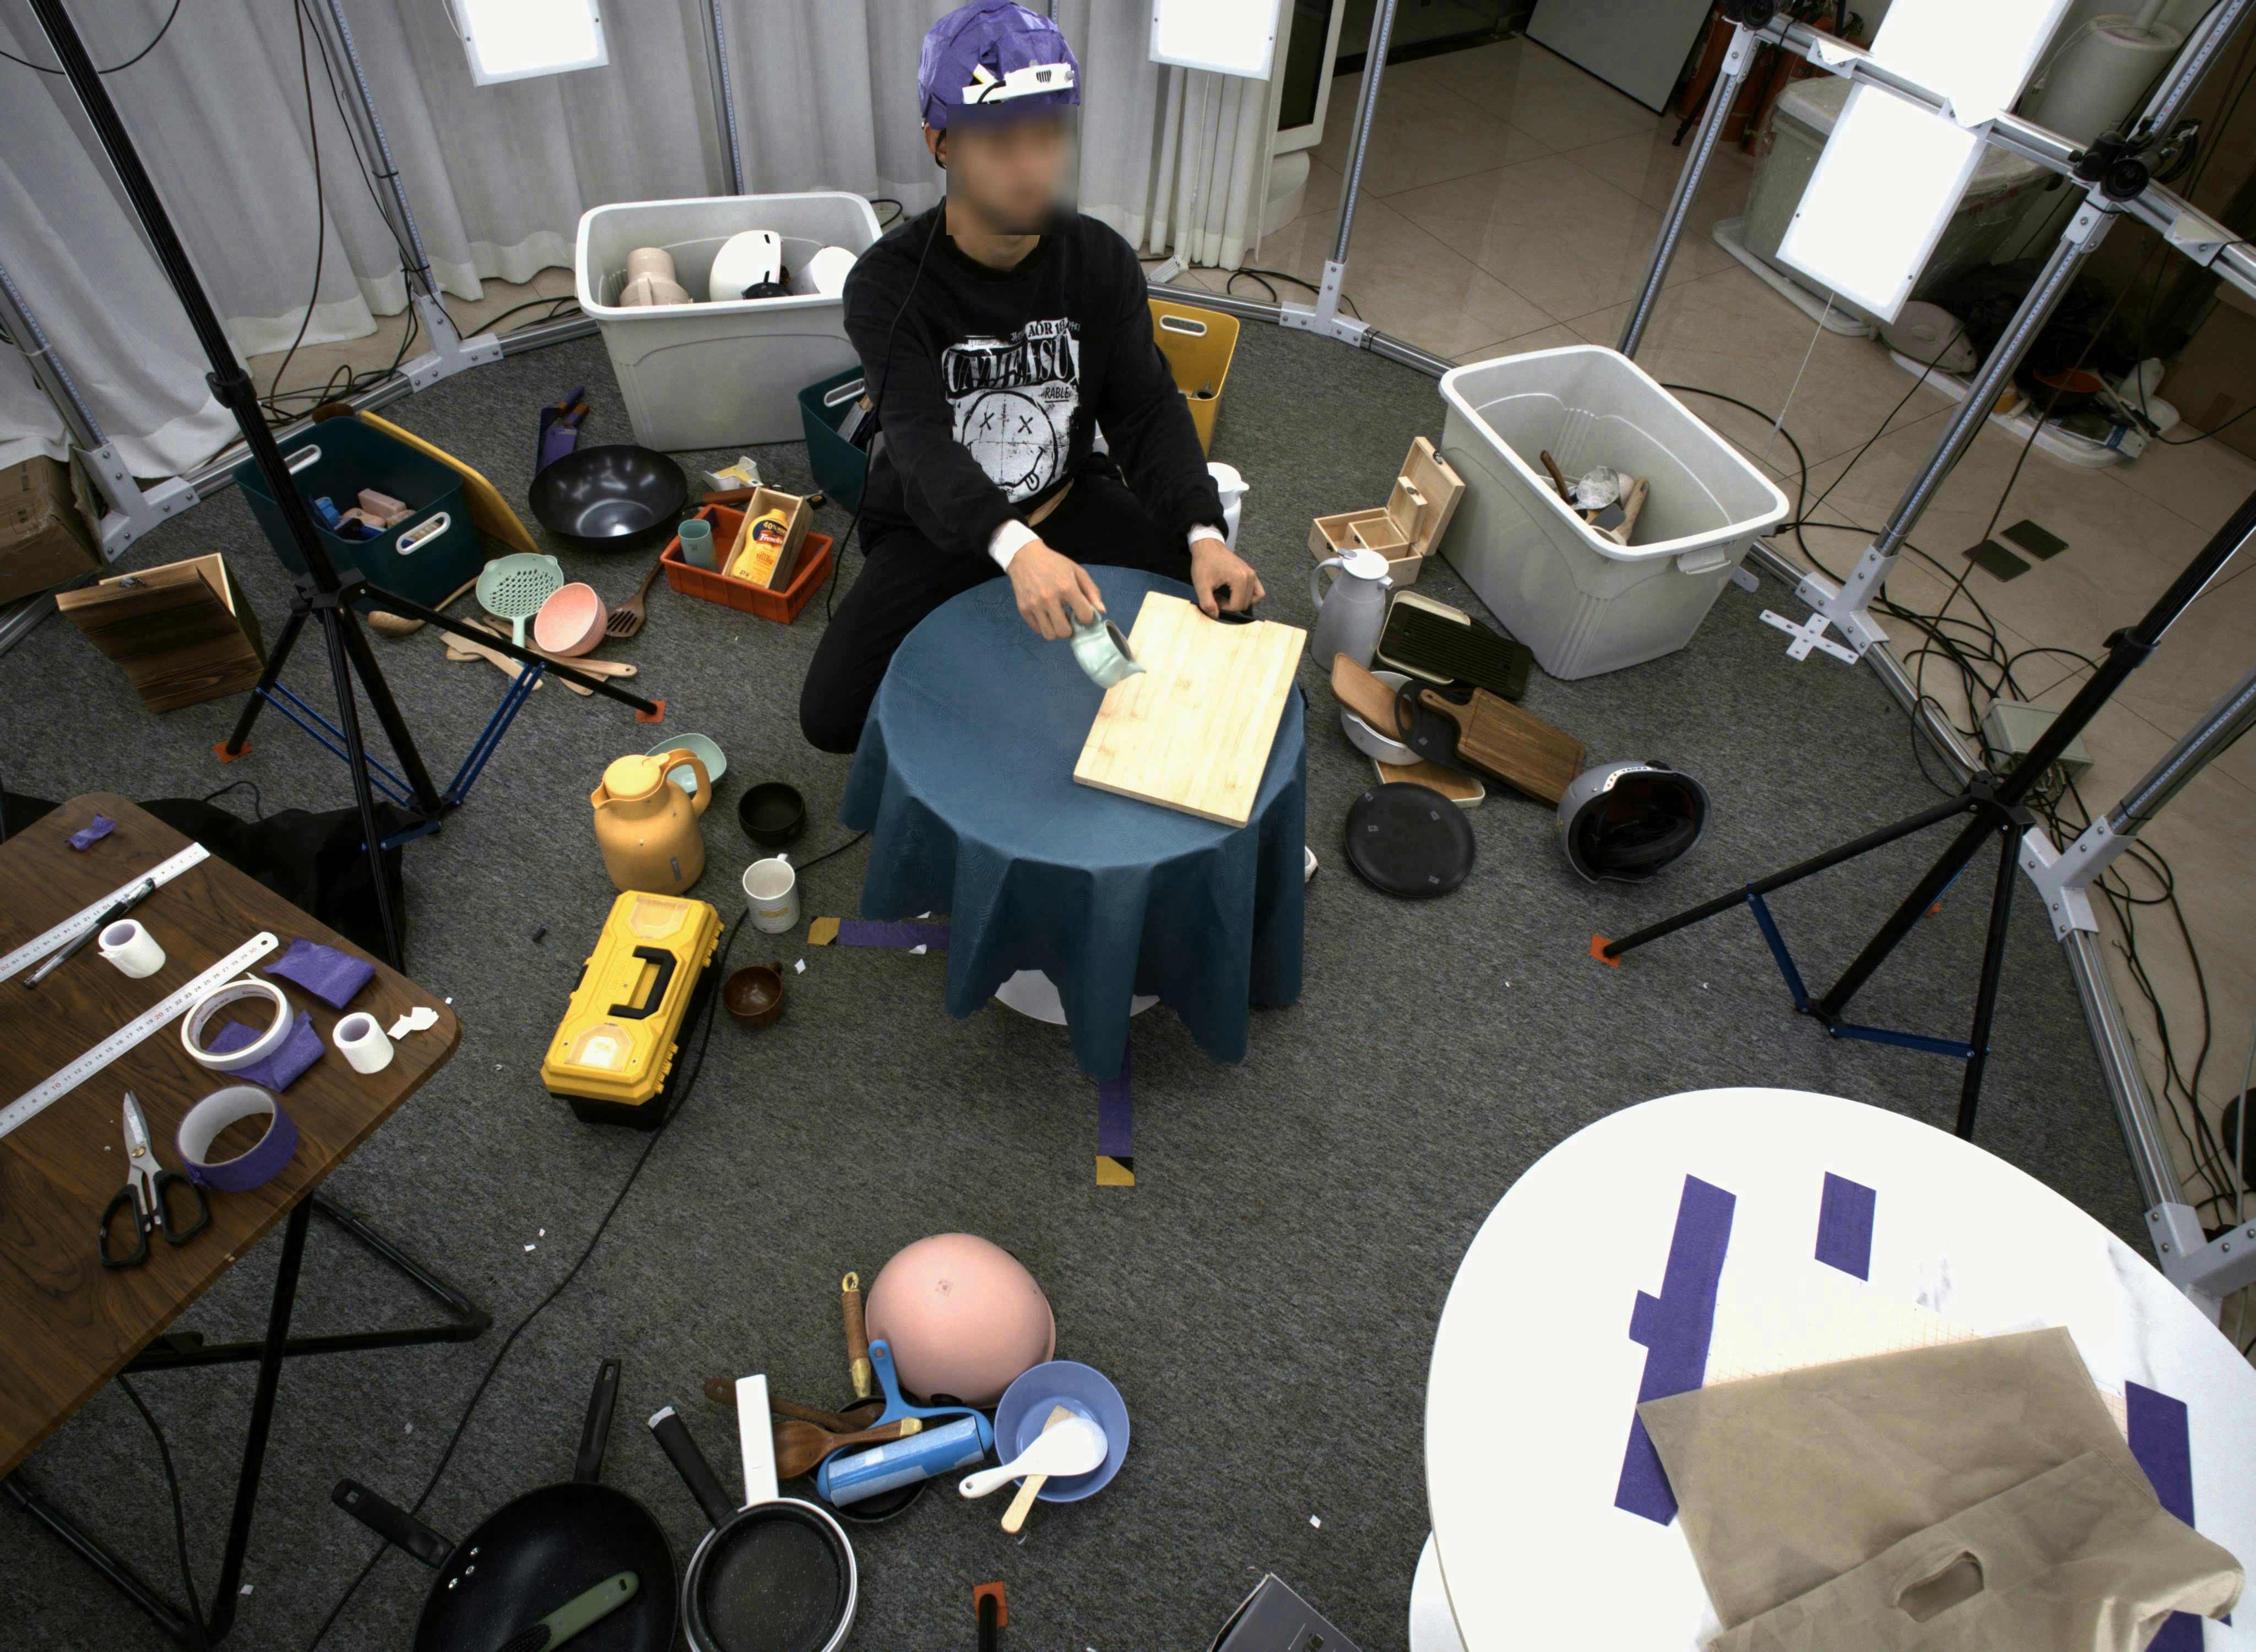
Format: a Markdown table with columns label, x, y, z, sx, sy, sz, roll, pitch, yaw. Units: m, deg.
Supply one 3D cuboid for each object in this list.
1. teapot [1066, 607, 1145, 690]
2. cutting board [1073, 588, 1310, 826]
| label | x | y | z | sx | sy | sz | roll | pitch | yaw |
| --- | --- | --- | --- | --- | --- | --- | --- | --- | --- |
| teapot | -0.039 | -0.230 | 1.670 | 0.061 | 0.134 | 0.098 | -30 | 38 | 21 |
| cutting board | 0.093 | -0.174 | 1.781 | 0.251 | 0.023 | 0.355 | 14 | 58 | 9 |
